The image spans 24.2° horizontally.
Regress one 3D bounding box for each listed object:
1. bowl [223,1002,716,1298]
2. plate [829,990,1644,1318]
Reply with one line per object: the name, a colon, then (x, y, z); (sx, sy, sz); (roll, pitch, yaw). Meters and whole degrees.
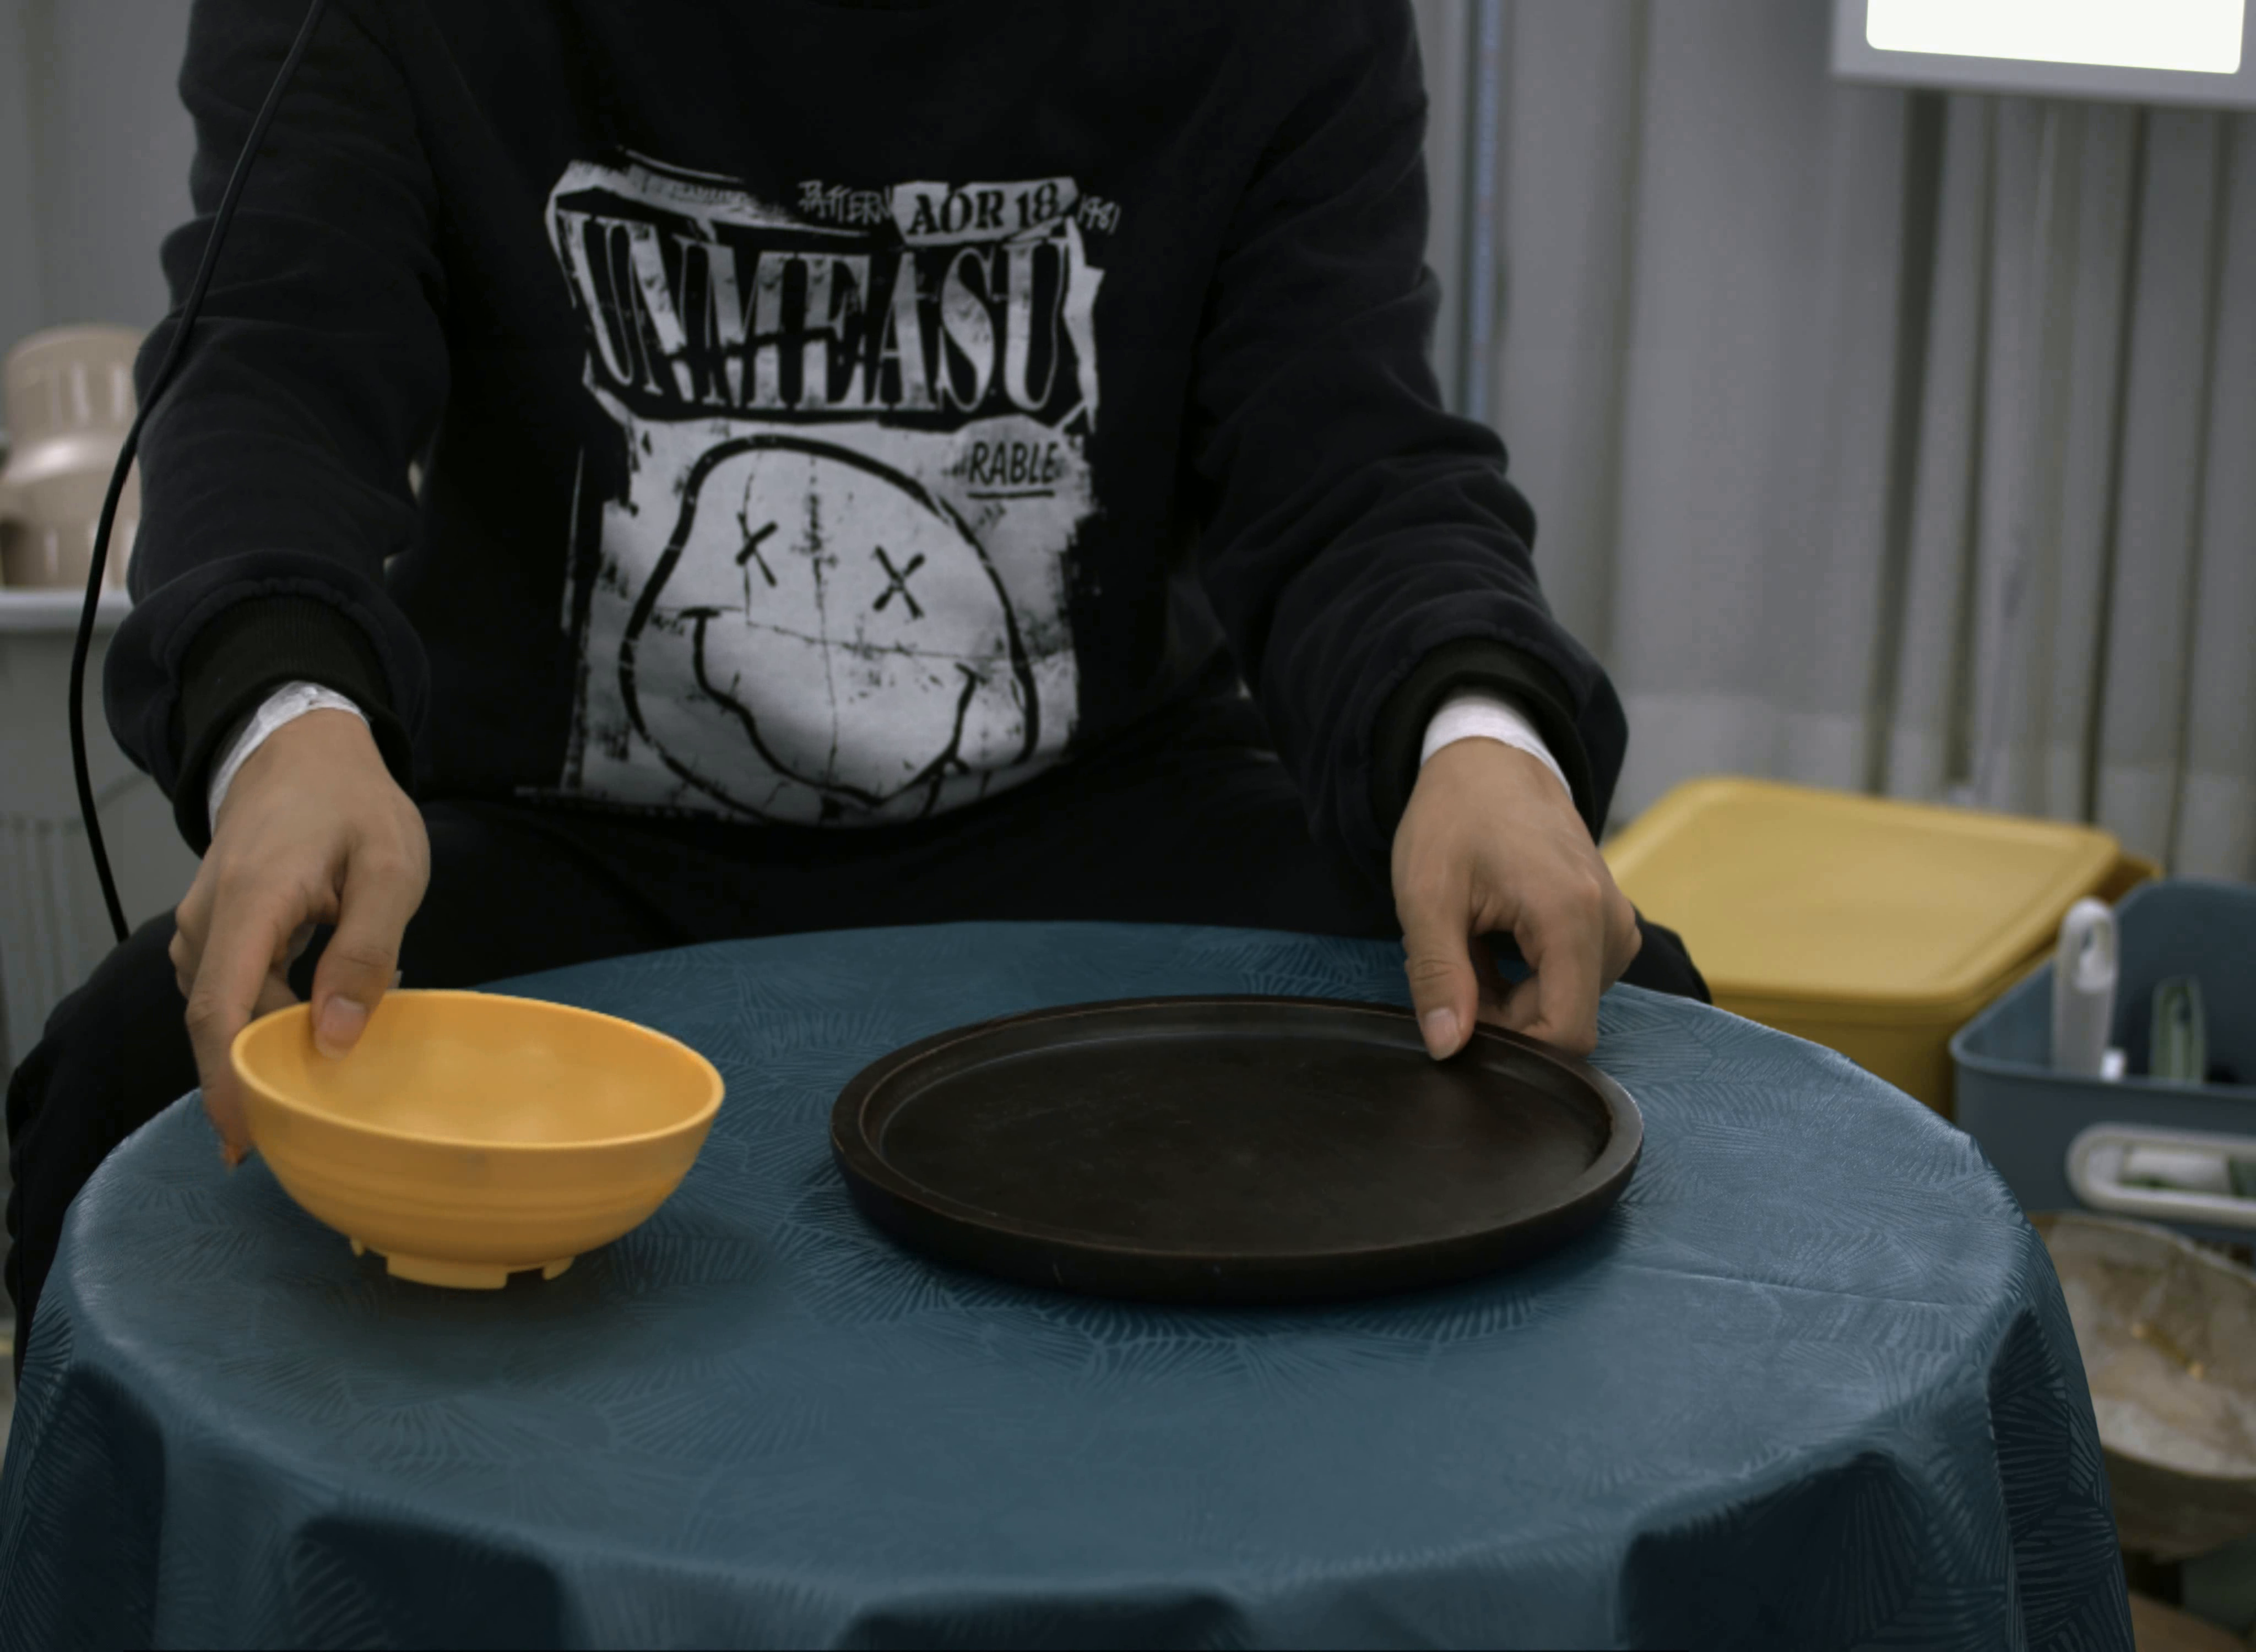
bowl: (-0.196, 0.100, 1.549); (0.145, 0.060, 0.144); (7, 13, -1)
plate: (0.034, 0.099, 1.634); (0.254, 0.029, 0.253); (-1, 16, 1)
